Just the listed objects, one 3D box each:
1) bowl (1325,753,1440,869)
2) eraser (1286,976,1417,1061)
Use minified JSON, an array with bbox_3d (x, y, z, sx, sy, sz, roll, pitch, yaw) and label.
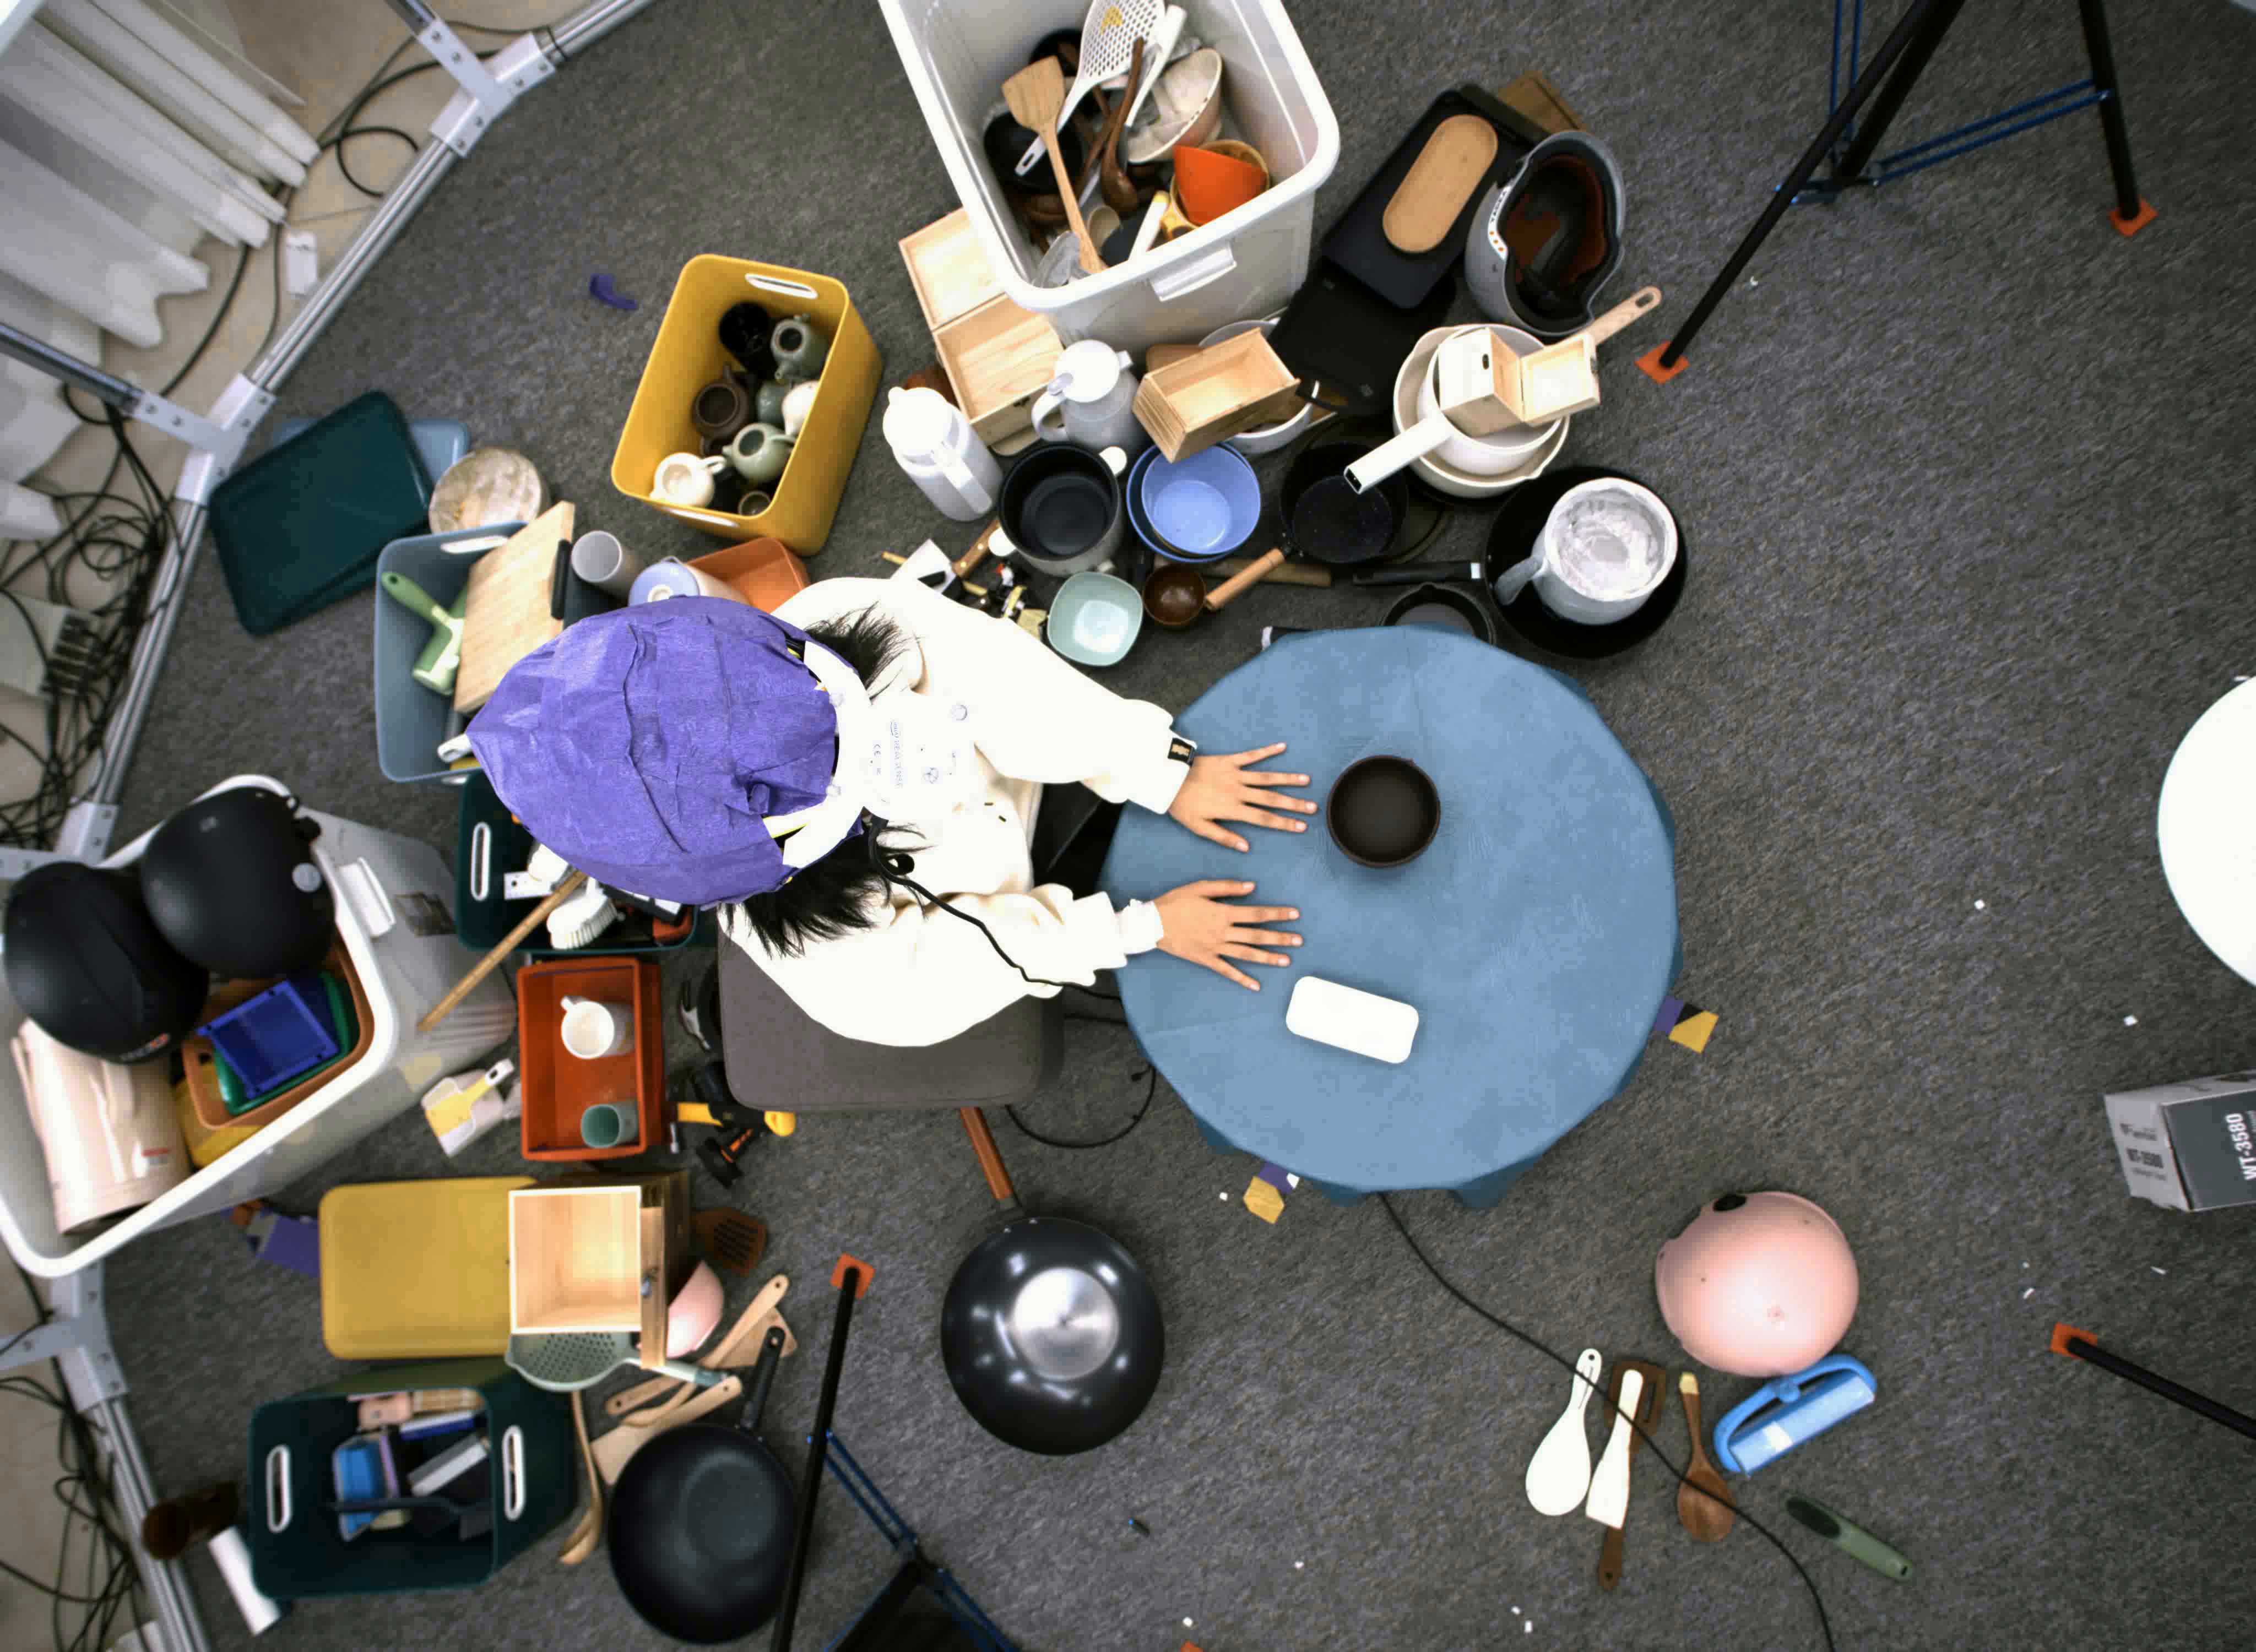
[{"bbox_3d":[0.264,-0.014,1.429,0.118,0.070,0.117,-1,84,11],"label":"bowl"},{"bbox_3d":[0.233,0.198,1.445,0.131,0.034,0.063,16,89,10],"label":"eraser"}]
